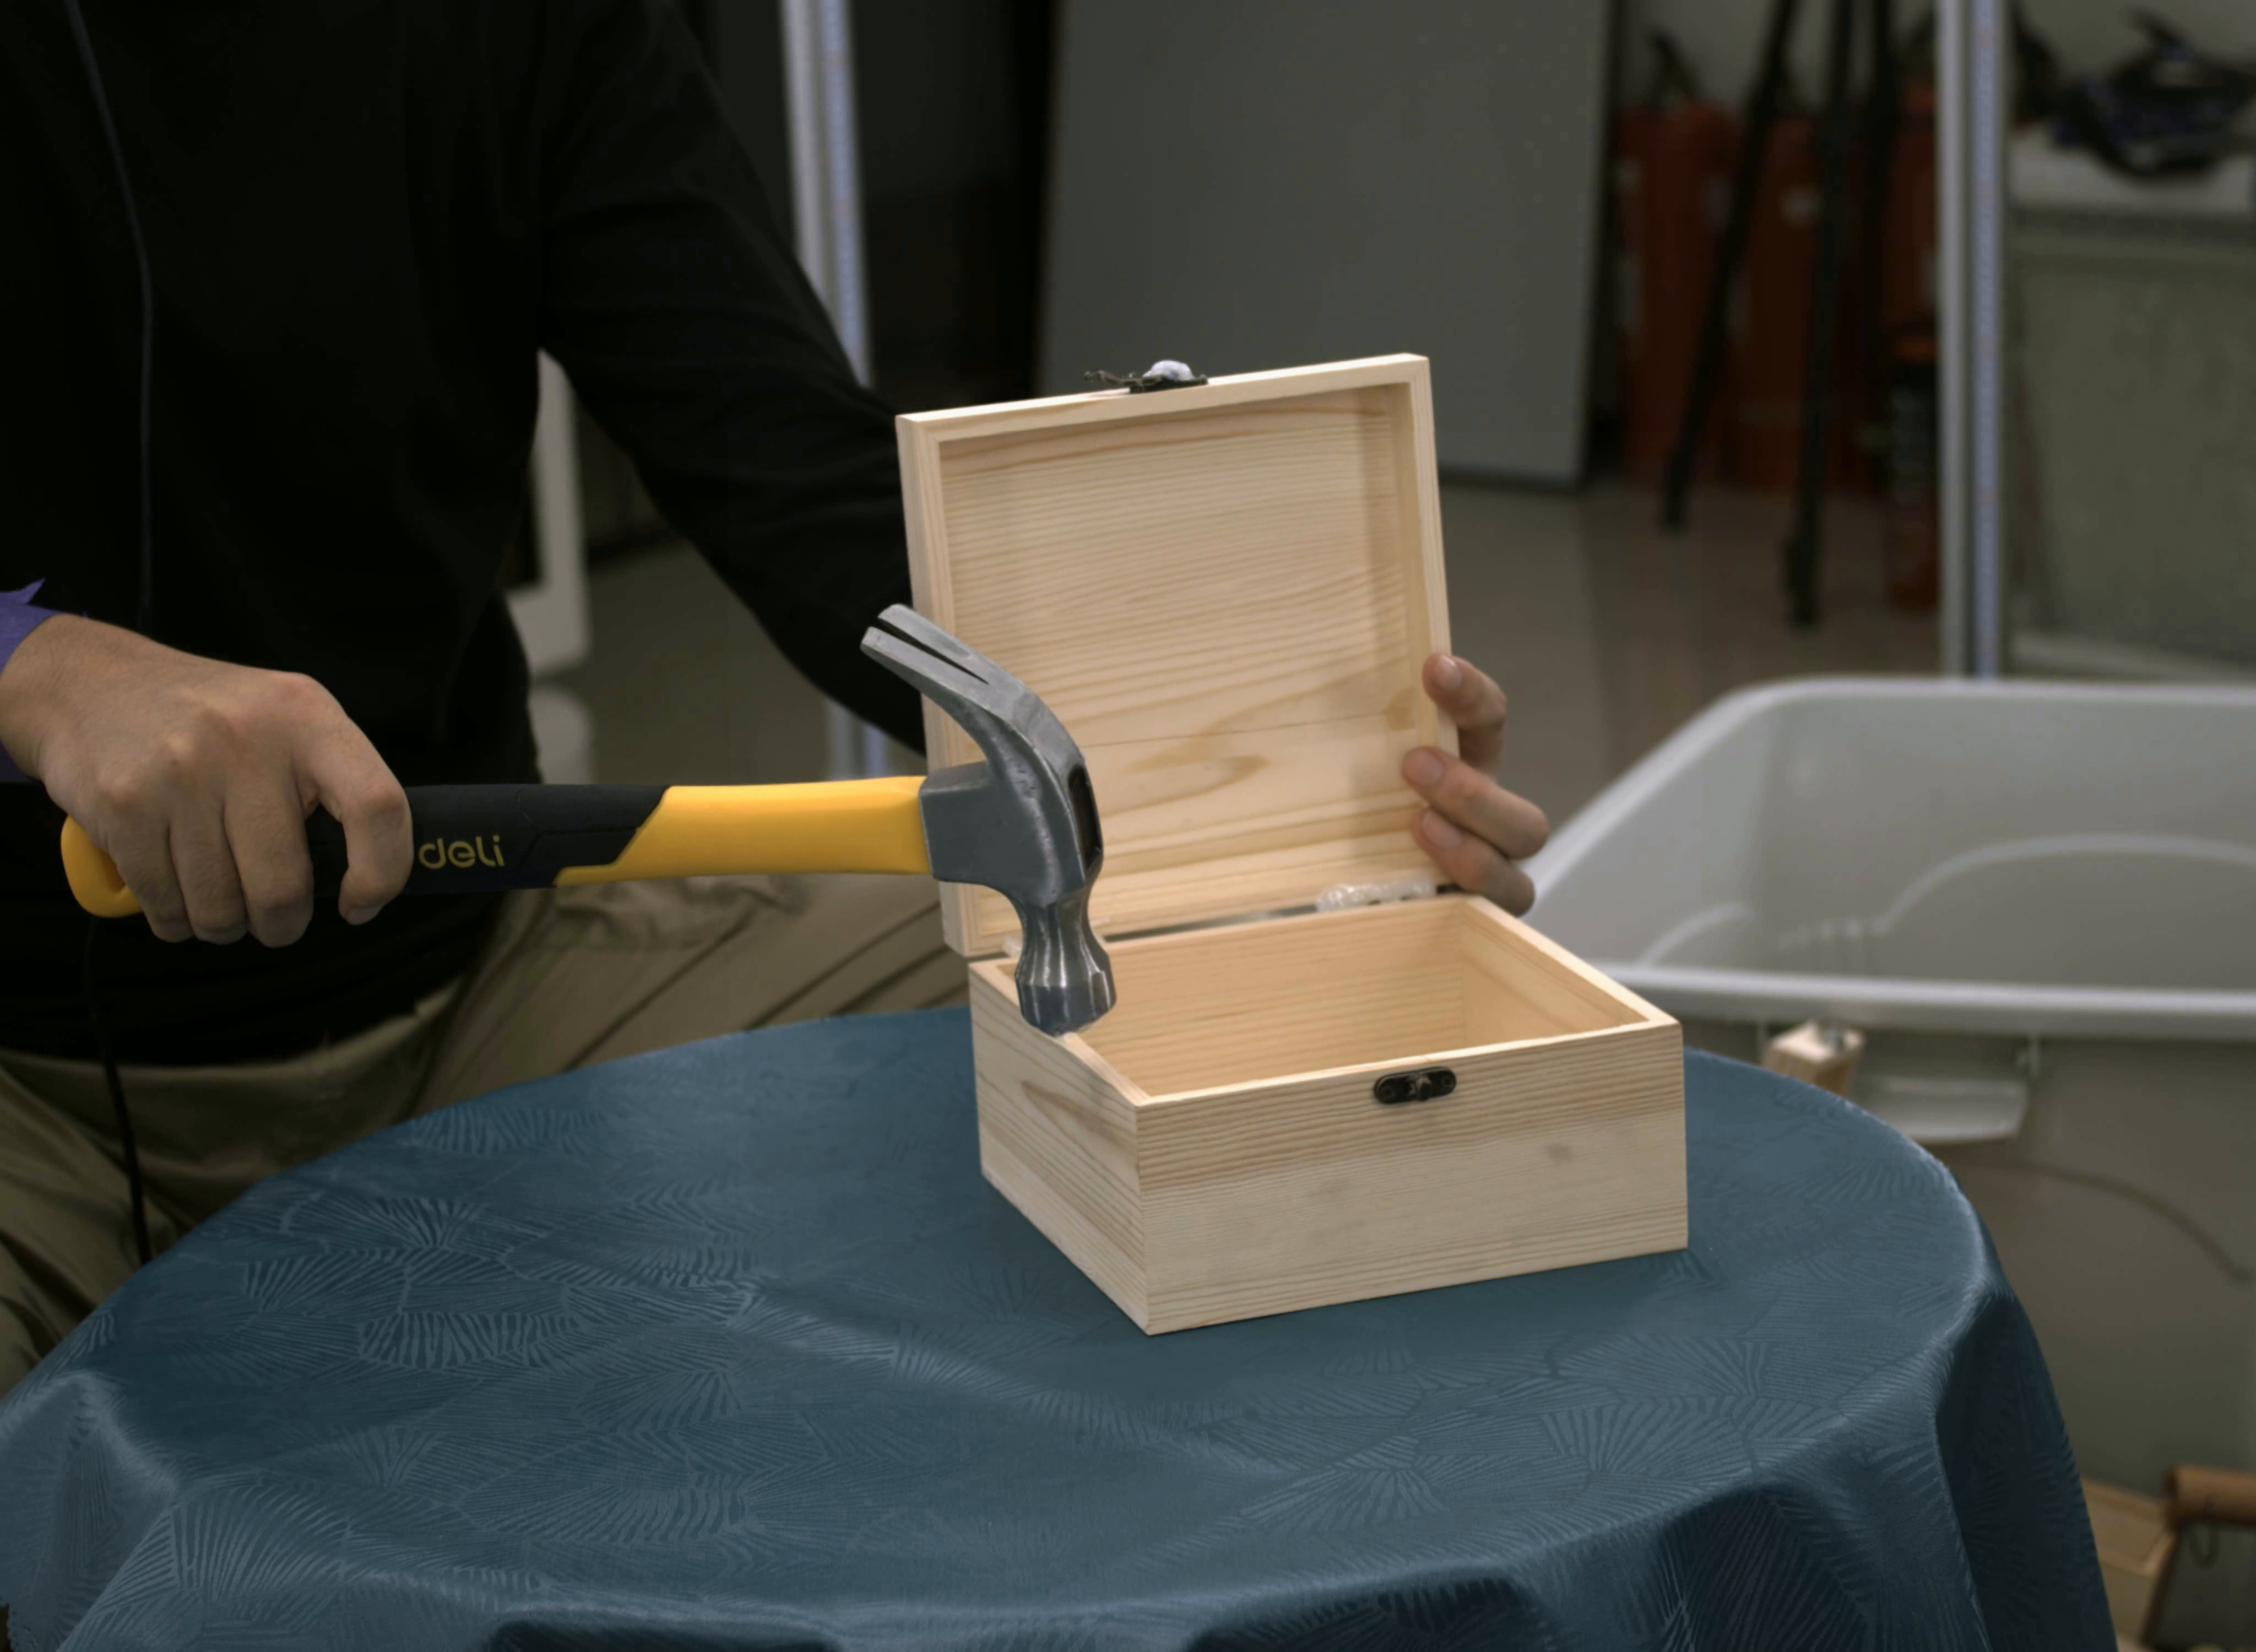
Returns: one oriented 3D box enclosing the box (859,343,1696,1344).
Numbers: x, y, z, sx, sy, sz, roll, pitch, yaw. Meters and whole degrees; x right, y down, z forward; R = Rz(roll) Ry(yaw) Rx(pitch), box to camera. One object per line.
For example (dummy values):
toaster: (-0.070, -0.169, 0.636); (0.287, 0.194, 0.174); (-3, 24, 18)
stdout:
box: (0.045, -0.004, 1.742); (0.178, 0.256, 0.267); (-10, 15, -16)

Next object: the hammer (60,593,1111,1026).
hammer: (-0.174, 0.003, 1.672); (0.337, 0.132, 0.032); (-3, 21, 18)
